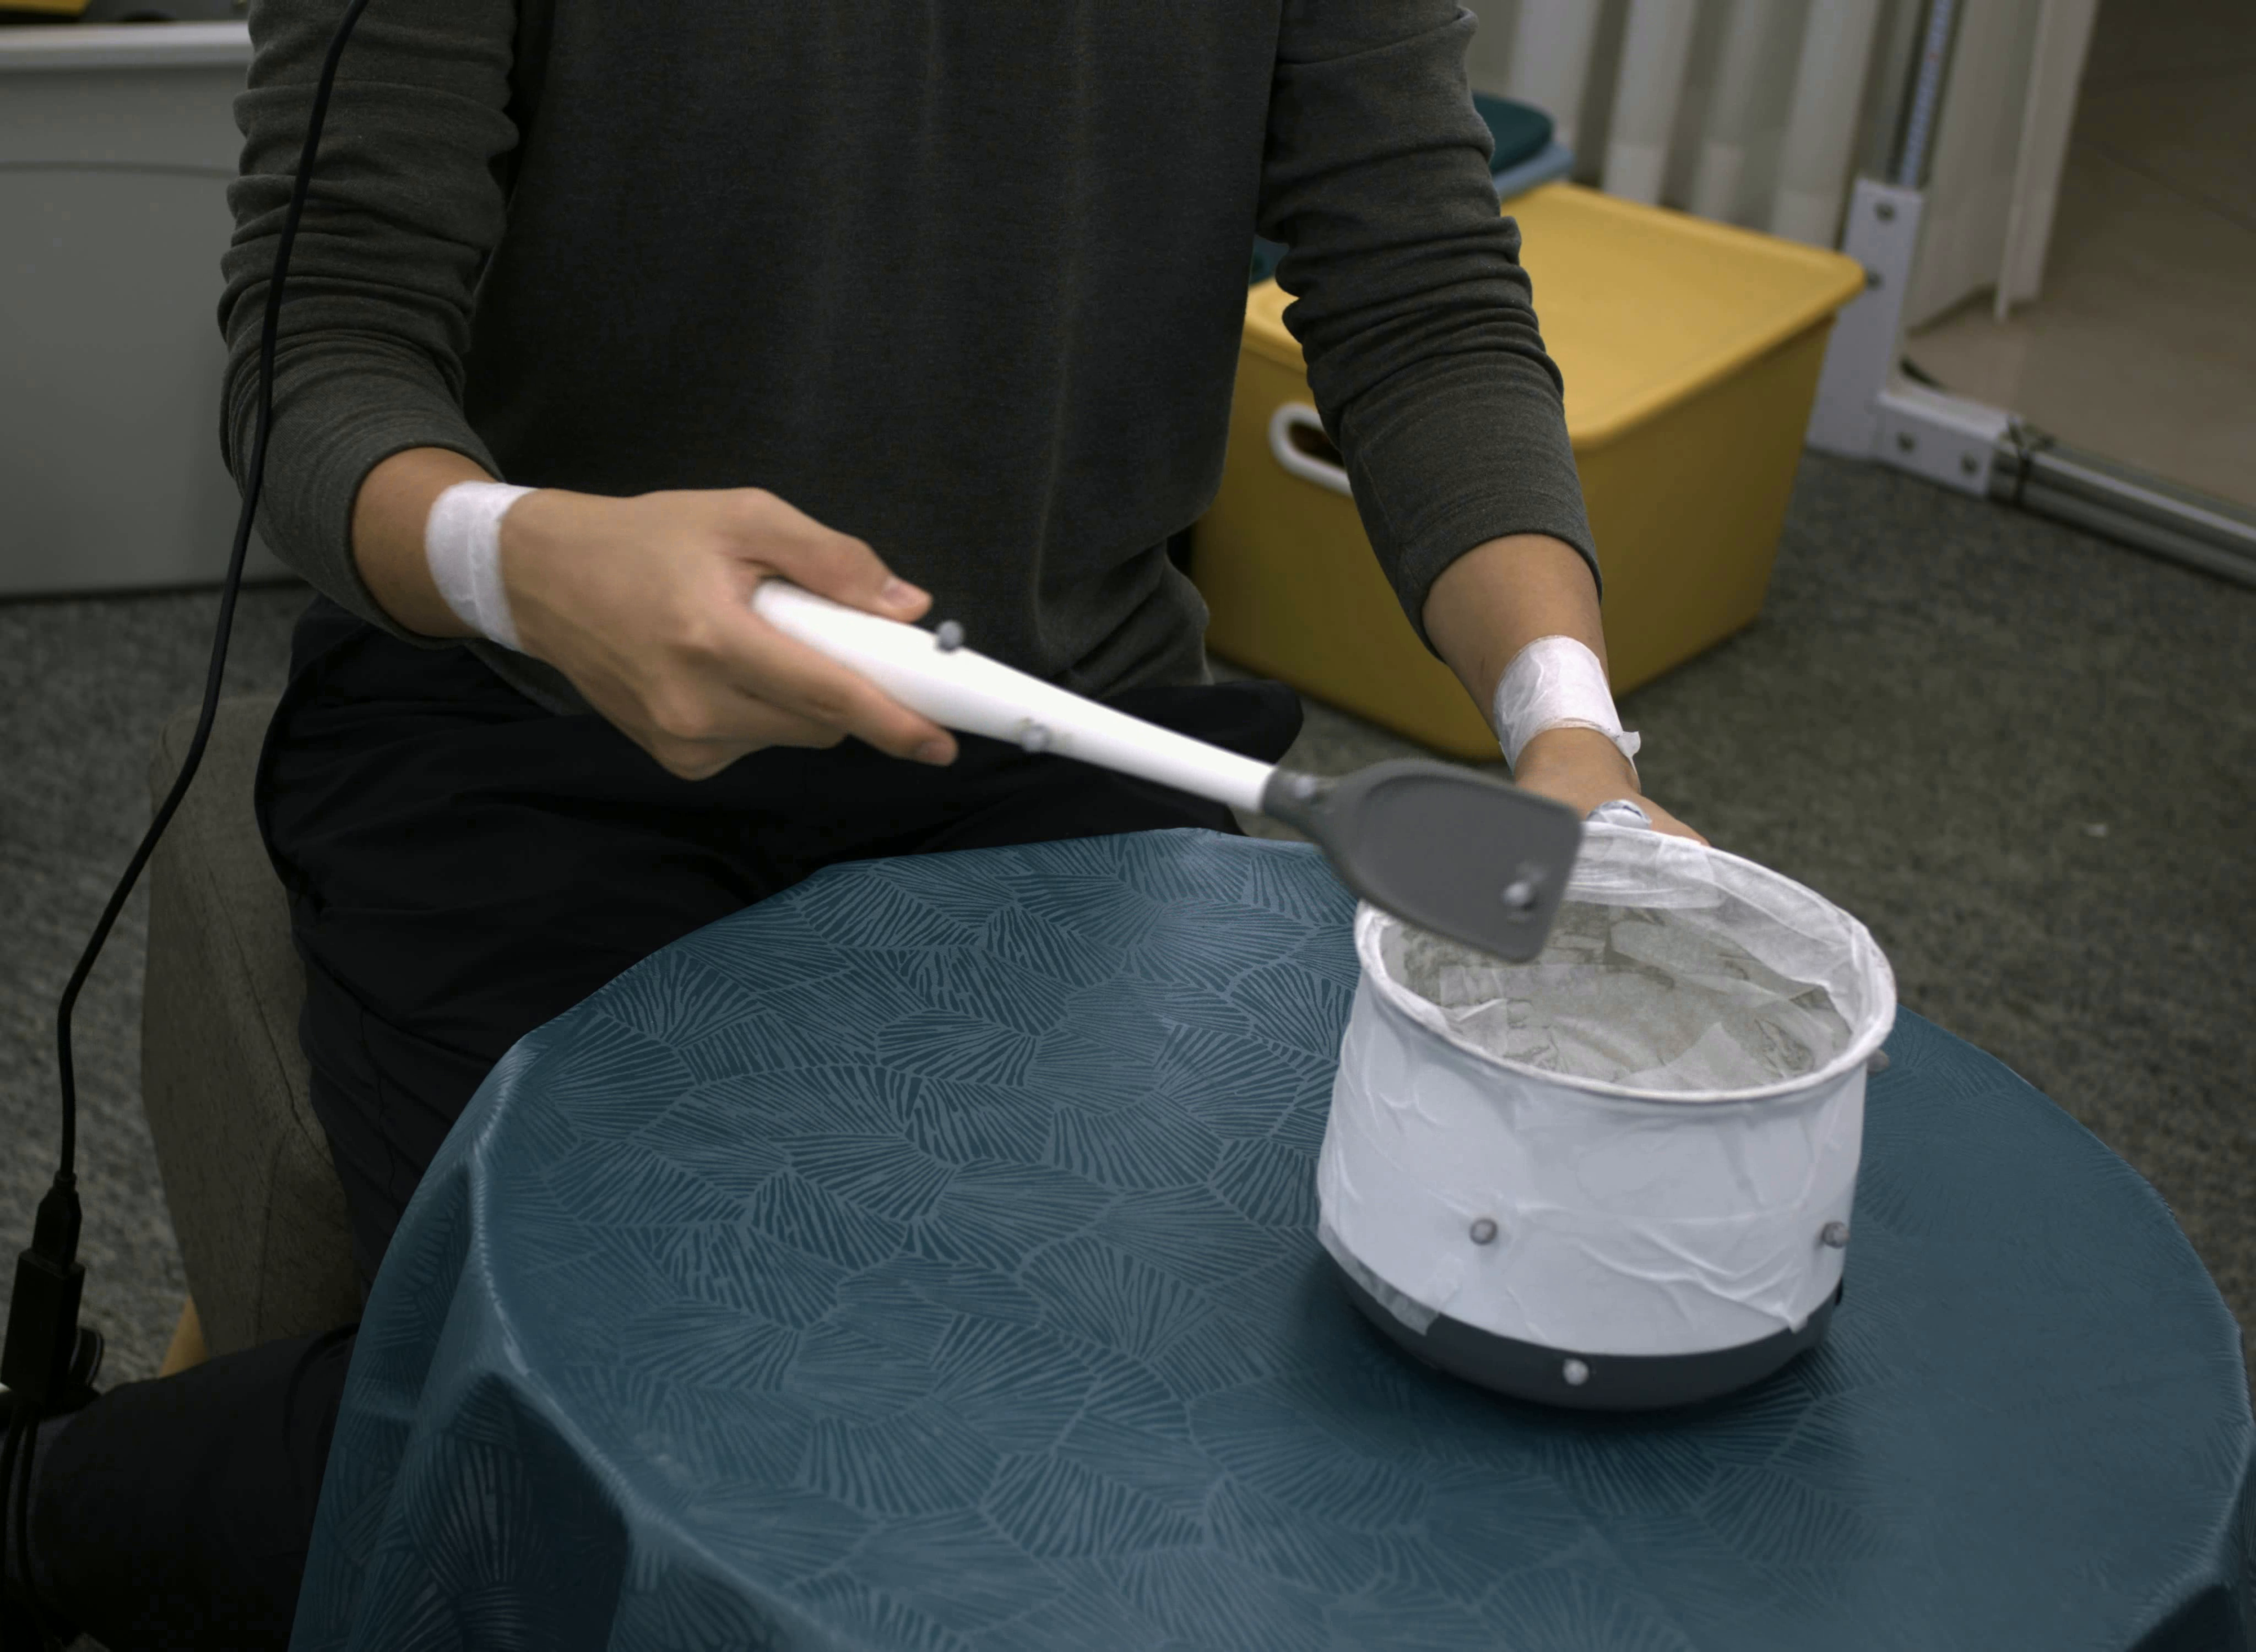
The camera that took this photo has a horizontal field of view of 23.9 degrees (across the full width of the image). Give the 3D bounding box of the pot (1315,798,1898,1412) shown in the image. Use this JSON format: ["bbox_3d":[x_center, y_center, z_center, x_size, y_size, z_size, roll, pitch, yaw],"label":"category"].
[{"bbox_3d":[0.154,0.084,1.764,0.178,0.136,0.235,7,28,0],"label":"pot"}]

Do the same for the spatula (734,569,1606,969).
[{"bbox_3d":[0.011,-0.024,1.658,0.288,0.059,0.032,19,-7,17],"label":"spatula"}]
